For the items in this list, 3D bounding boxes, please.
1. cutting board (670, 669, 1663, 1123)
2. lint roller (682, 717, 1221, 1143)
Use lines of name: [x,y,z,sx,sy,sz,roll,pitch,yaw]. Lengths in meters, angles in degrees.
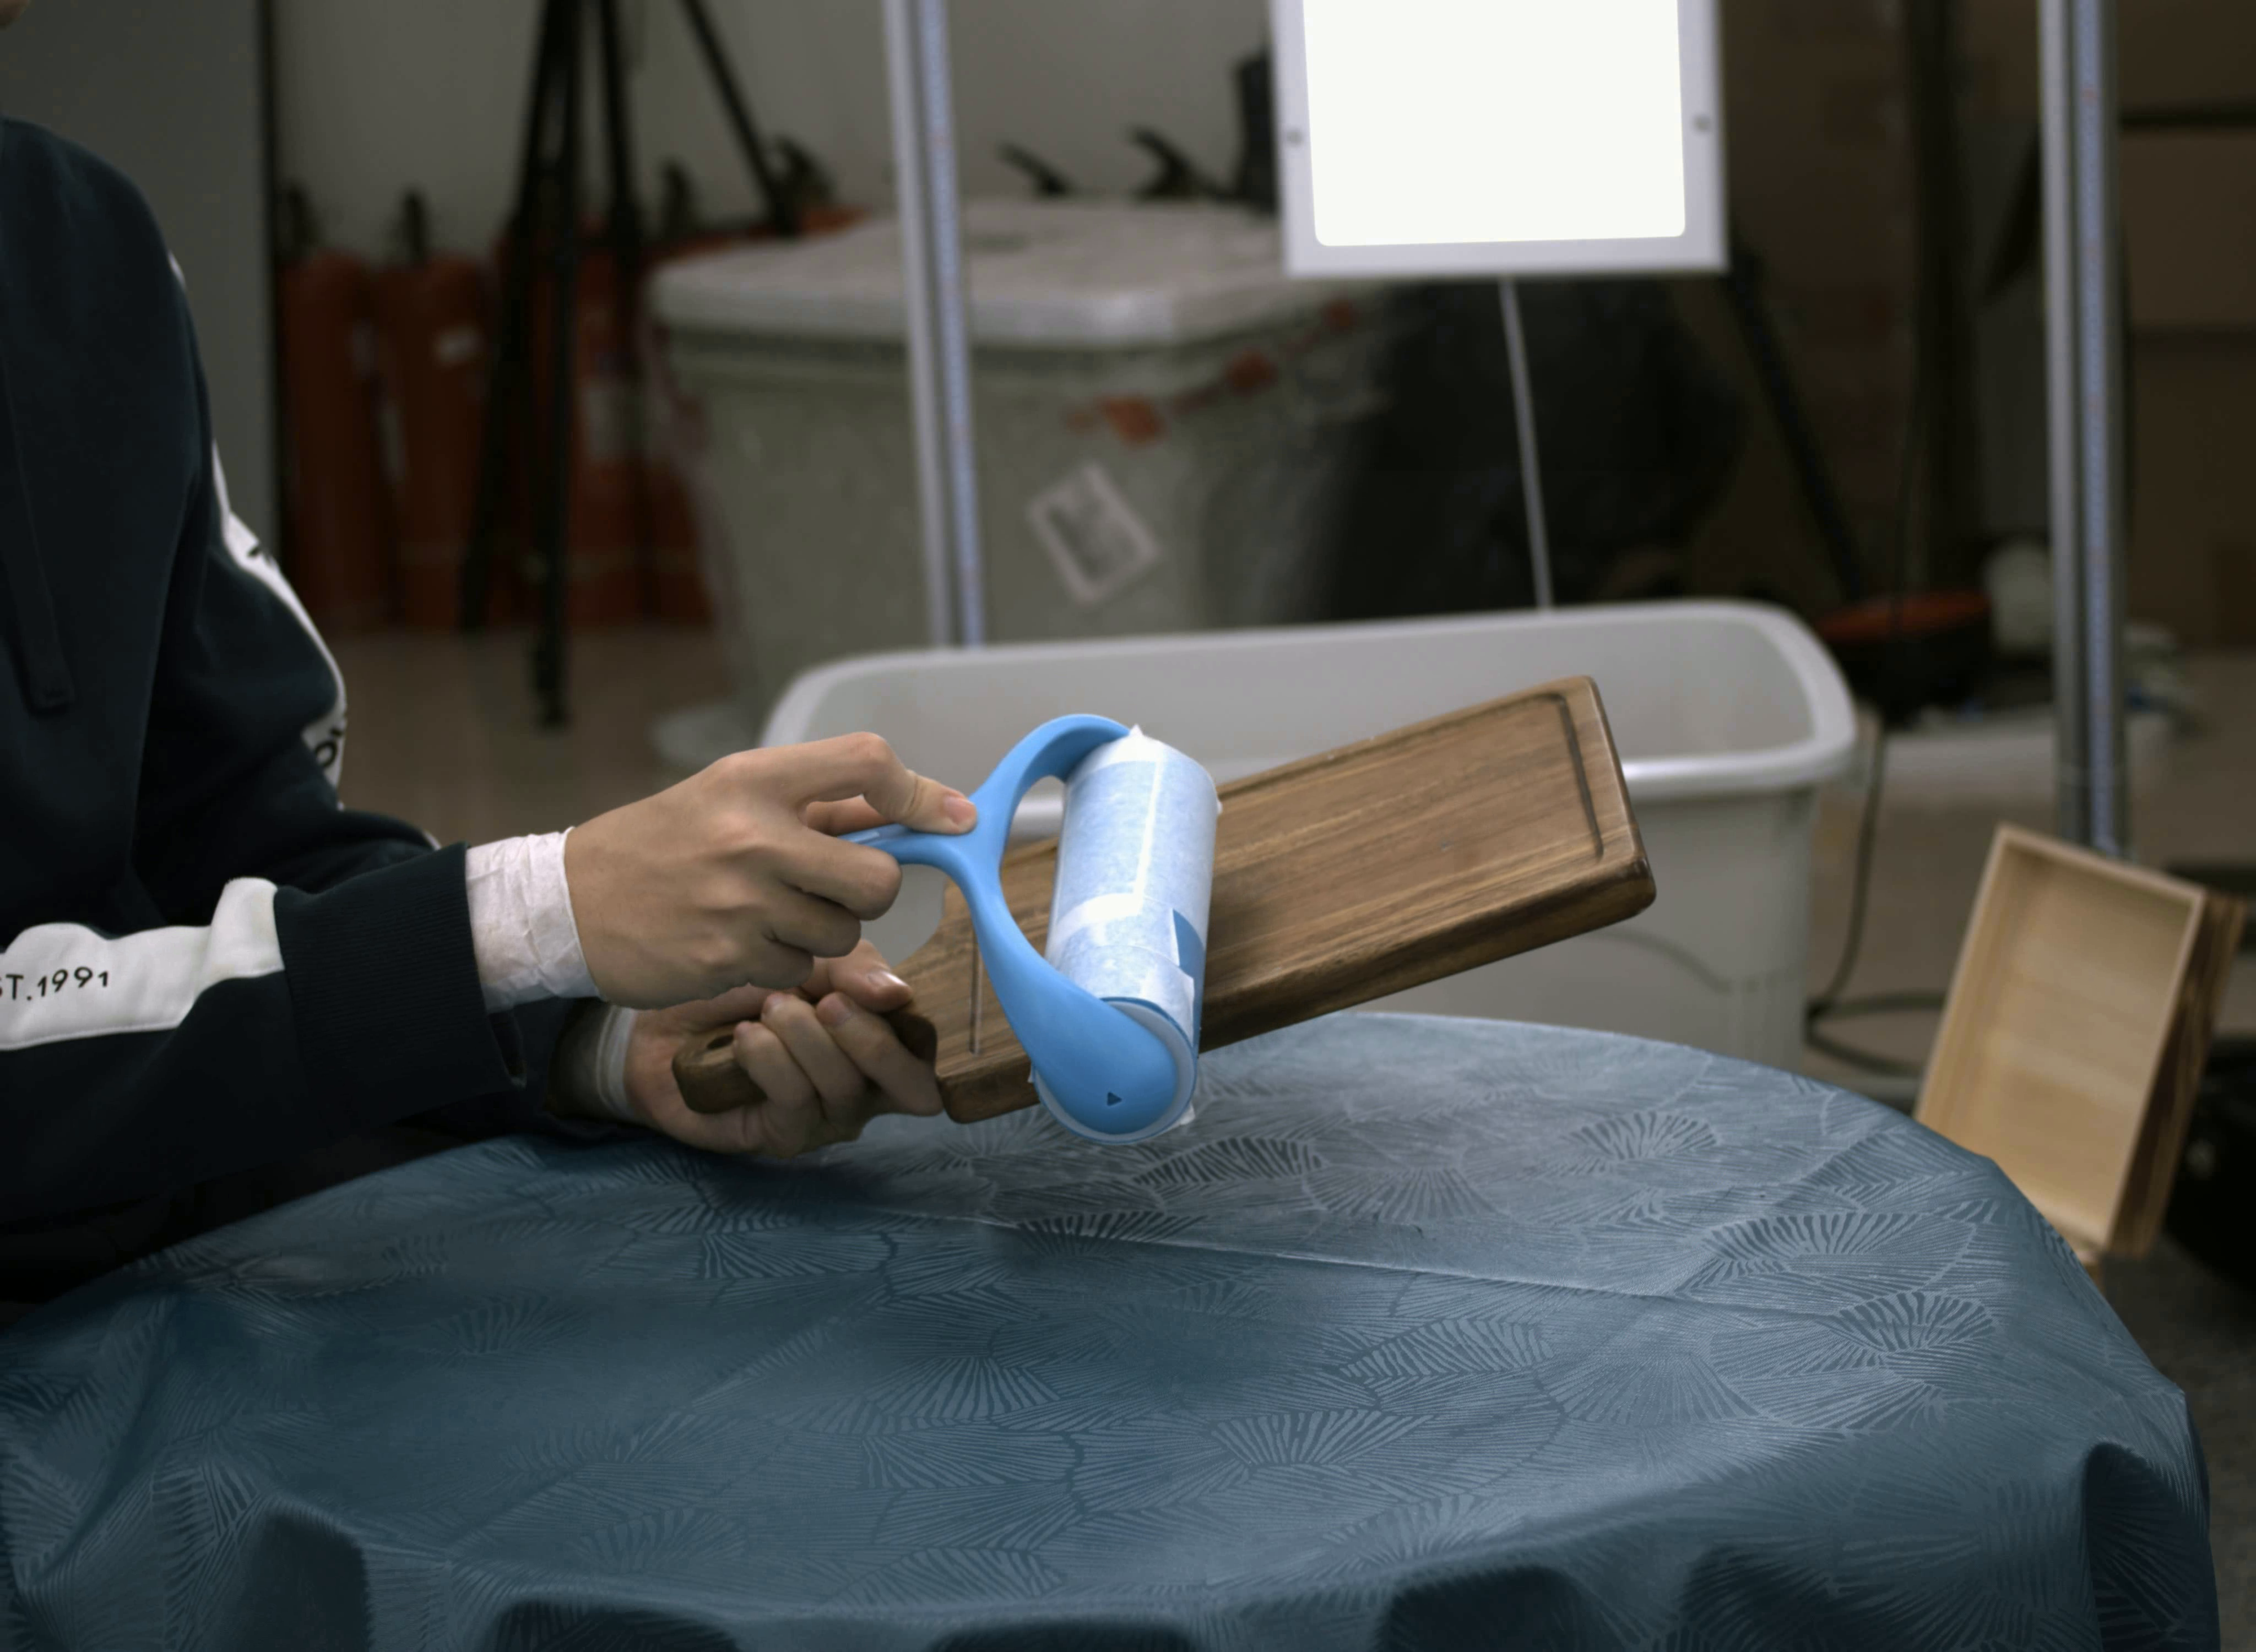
cutting board: [0.007,0.036,1.917,0.353,0.023,0.200,-19,20,7]
lint roller: [-0.057,0.029,1.825,0.179,0.068,0.228,5,28,-1]
